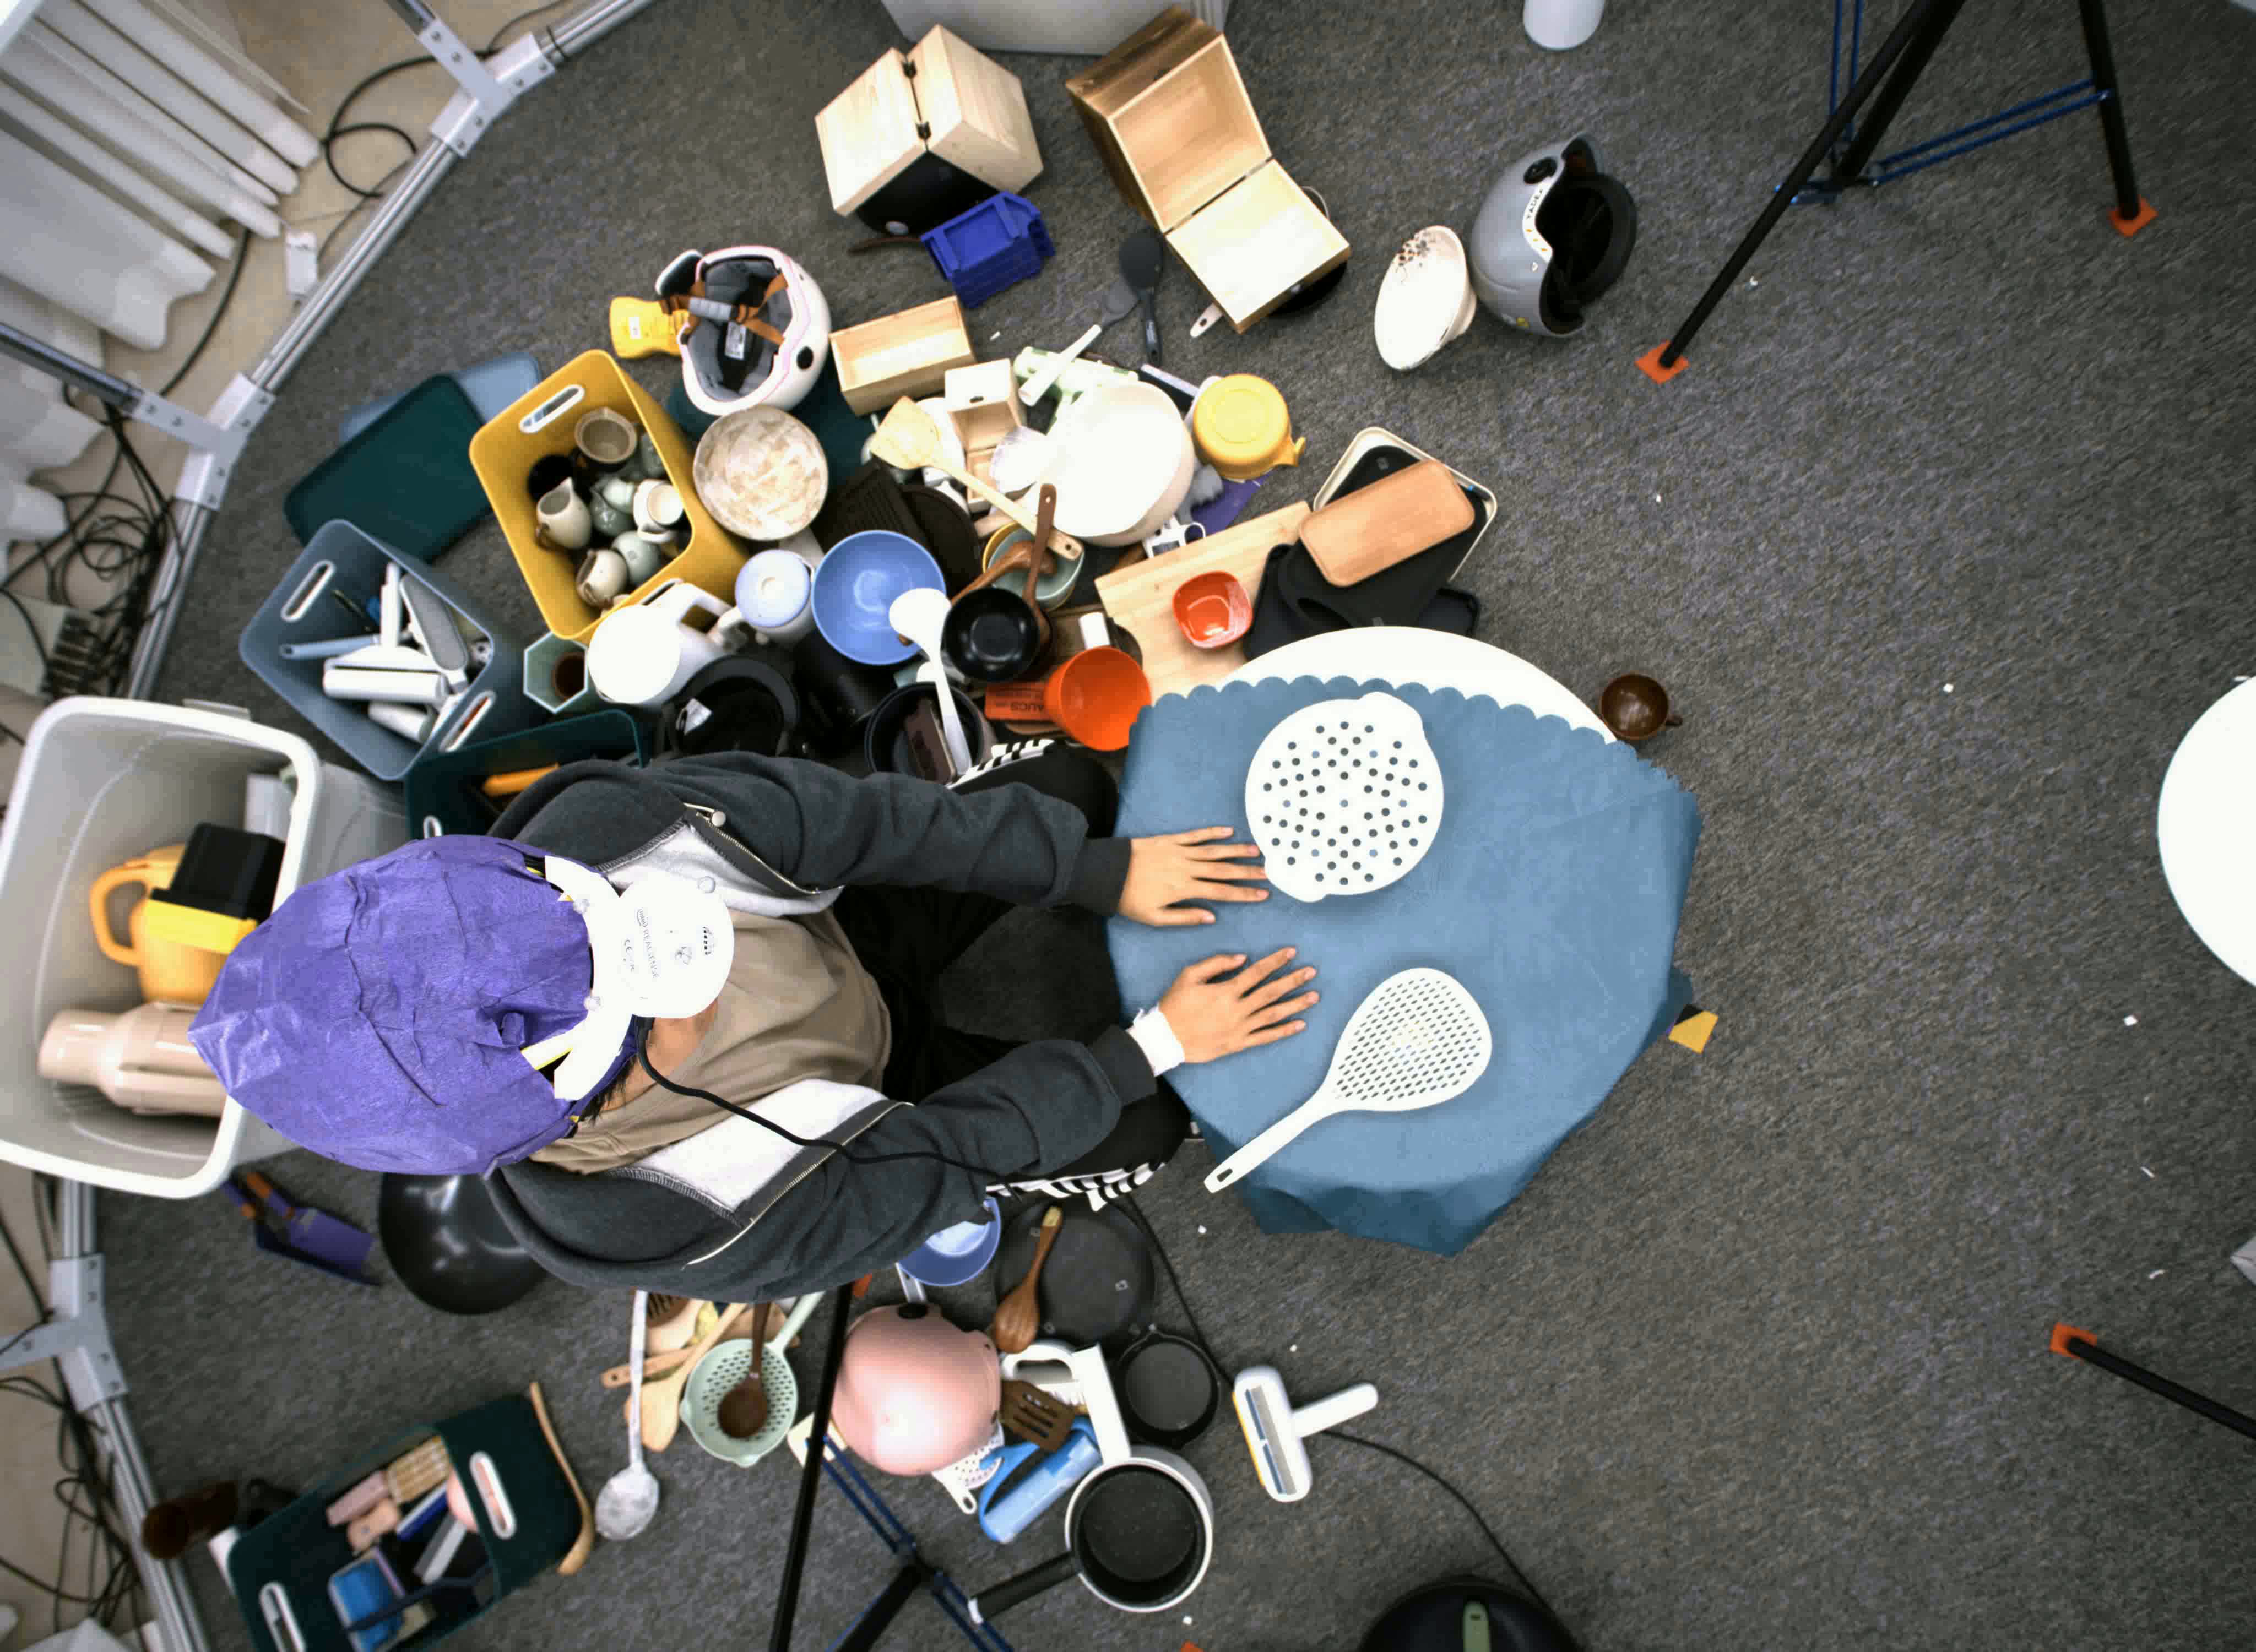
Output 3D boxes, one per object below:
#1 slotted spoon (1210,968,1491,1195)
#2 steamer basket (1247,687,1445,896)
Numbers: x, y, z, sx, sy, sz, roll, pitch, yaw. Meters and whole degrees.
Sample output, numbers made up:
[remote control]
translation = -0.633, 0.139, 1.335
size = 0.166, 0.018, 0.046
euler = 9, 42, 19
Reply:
[slotted spoon]
translation = 0.217, 0.280, 1.445
size = 0.351, 0.050, 0.136
euler = -39, 86, 11
[steamer basket]
translation = 0.227, -0.033, 1.439
size = 0.201, 0.069, 0.230
euler = 30, 90, 11
